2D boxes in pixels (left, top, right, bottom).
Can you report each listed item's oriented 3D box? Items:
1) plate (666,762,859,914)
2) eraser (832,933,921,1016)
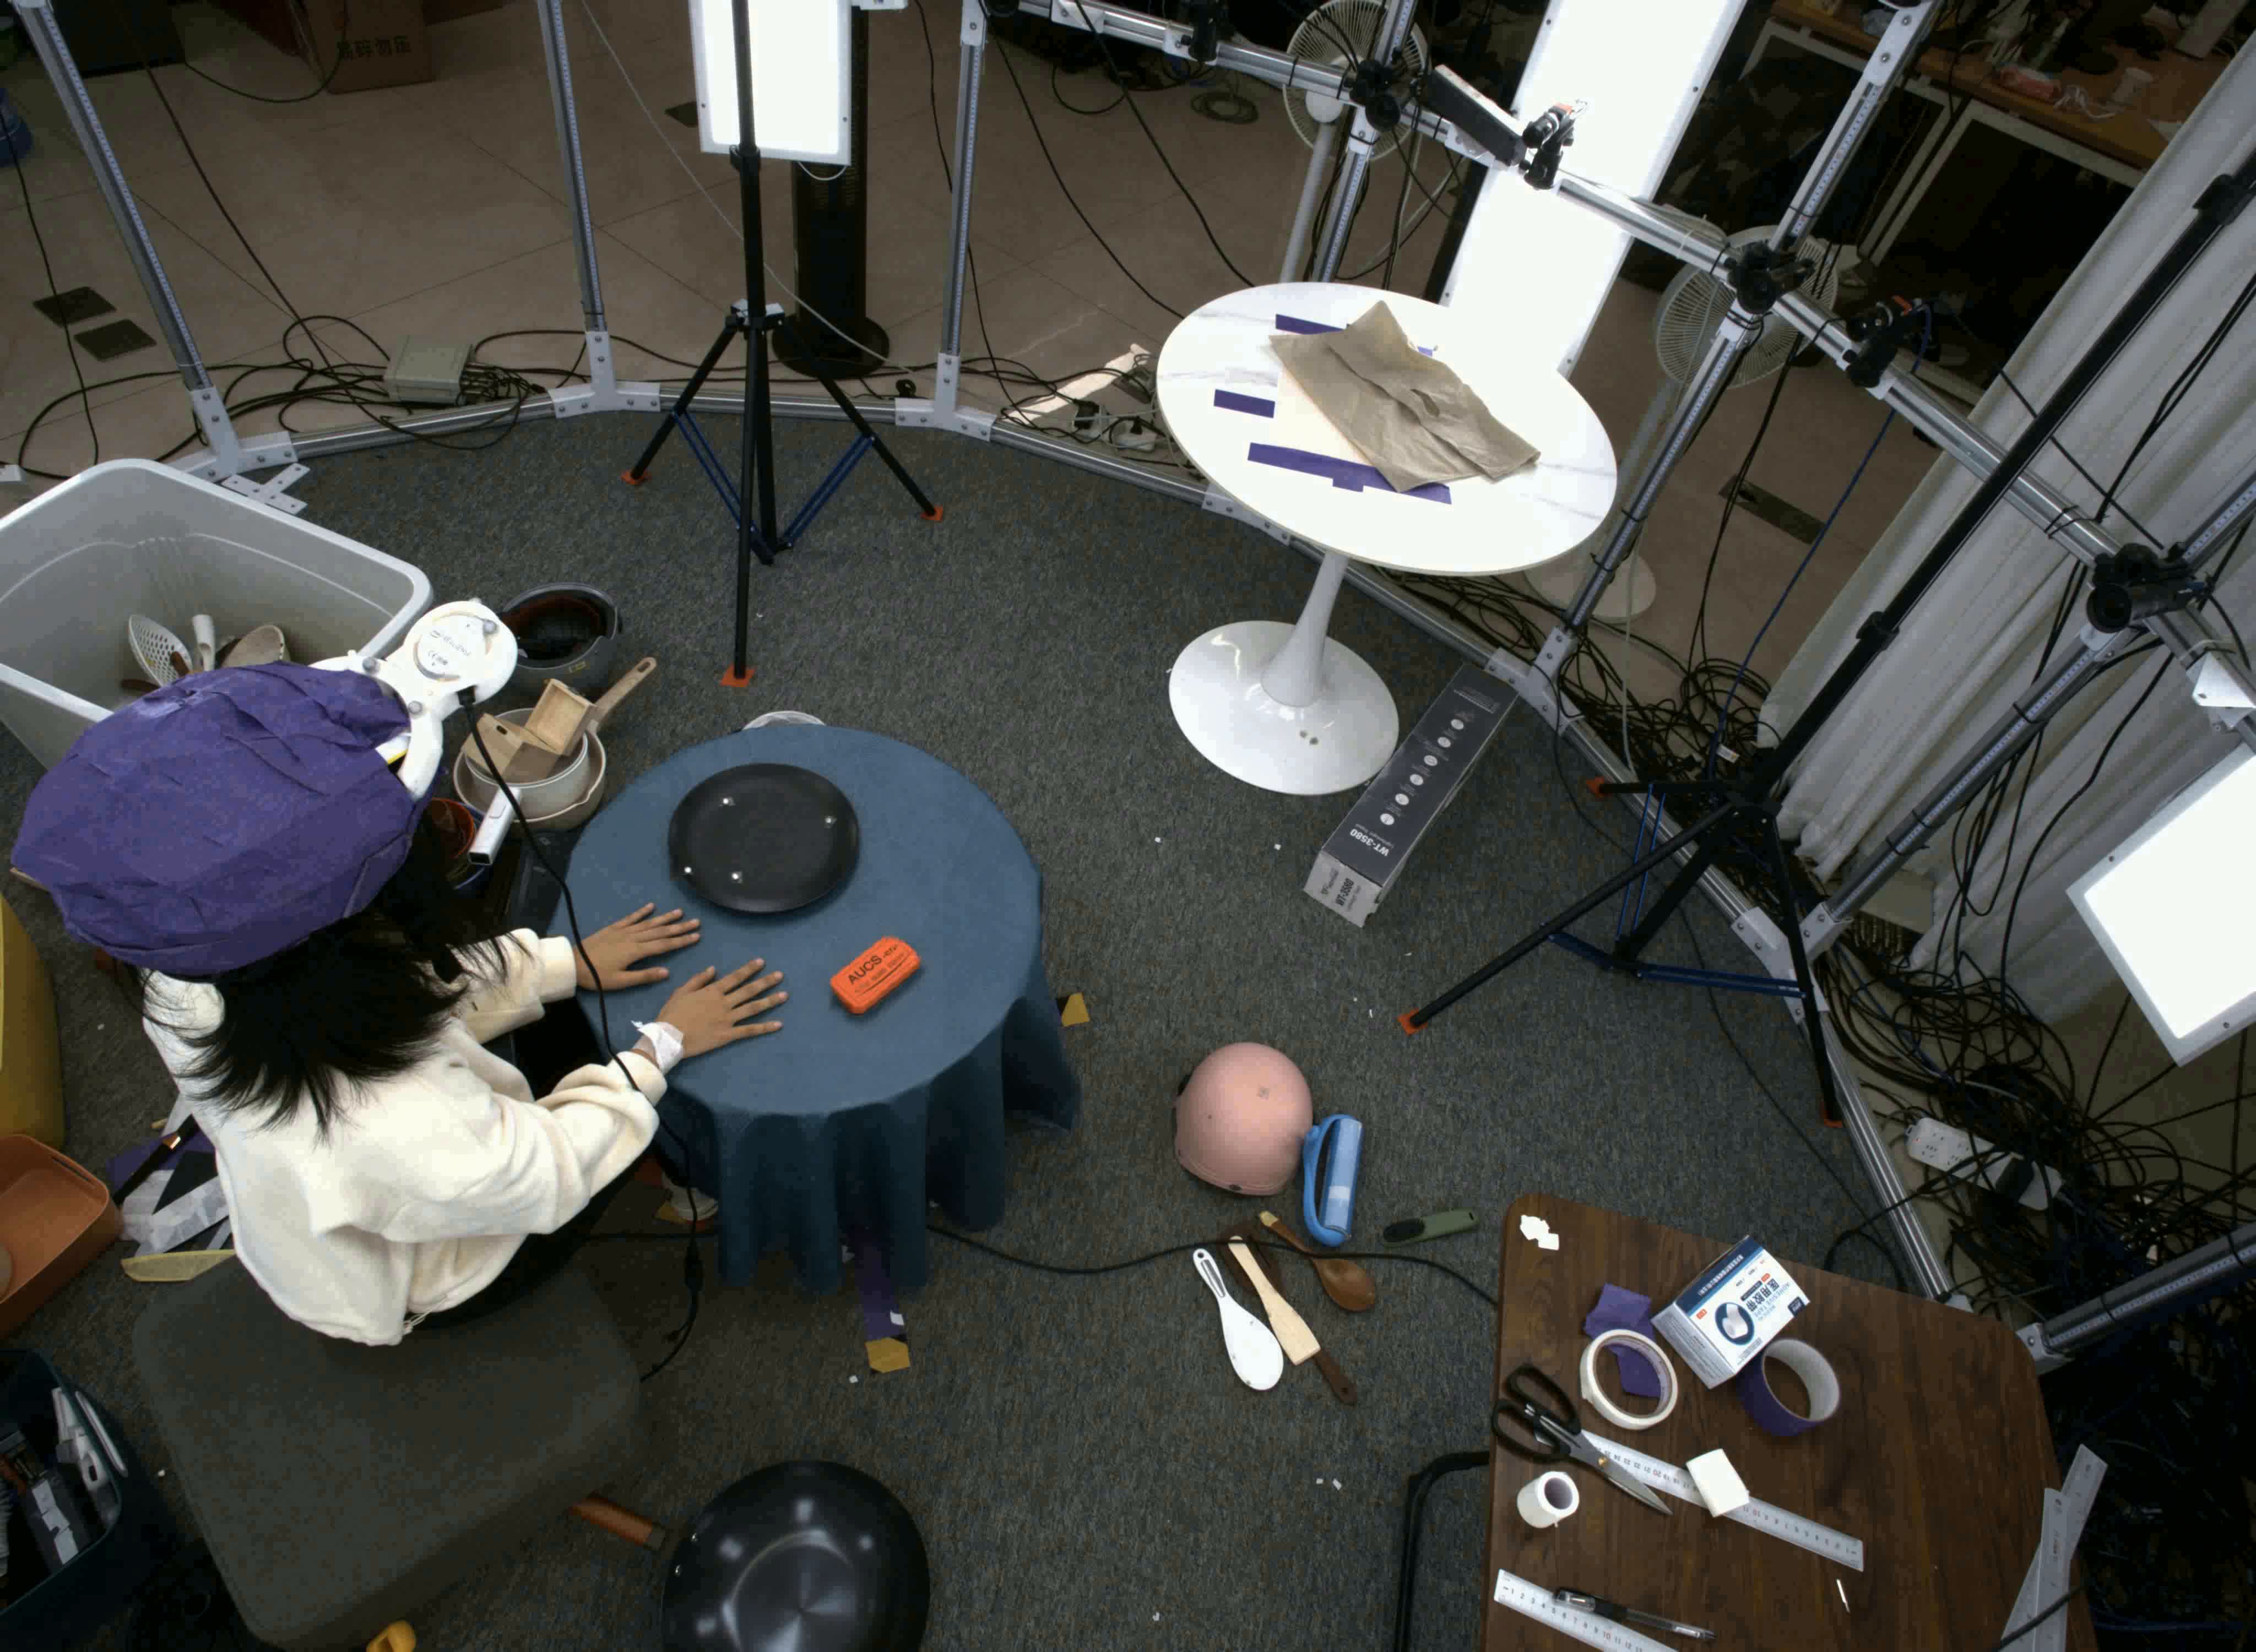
[{"bbox_3d":[-0.473,0.016,1.679,0.244,0.024,0.240,8,53,-9],"label":"plate"},{"bbox_3d":[-0.309,0.179,1.596,0.058,0.023,0.108,39,52,14],"label":"eraser"}]
